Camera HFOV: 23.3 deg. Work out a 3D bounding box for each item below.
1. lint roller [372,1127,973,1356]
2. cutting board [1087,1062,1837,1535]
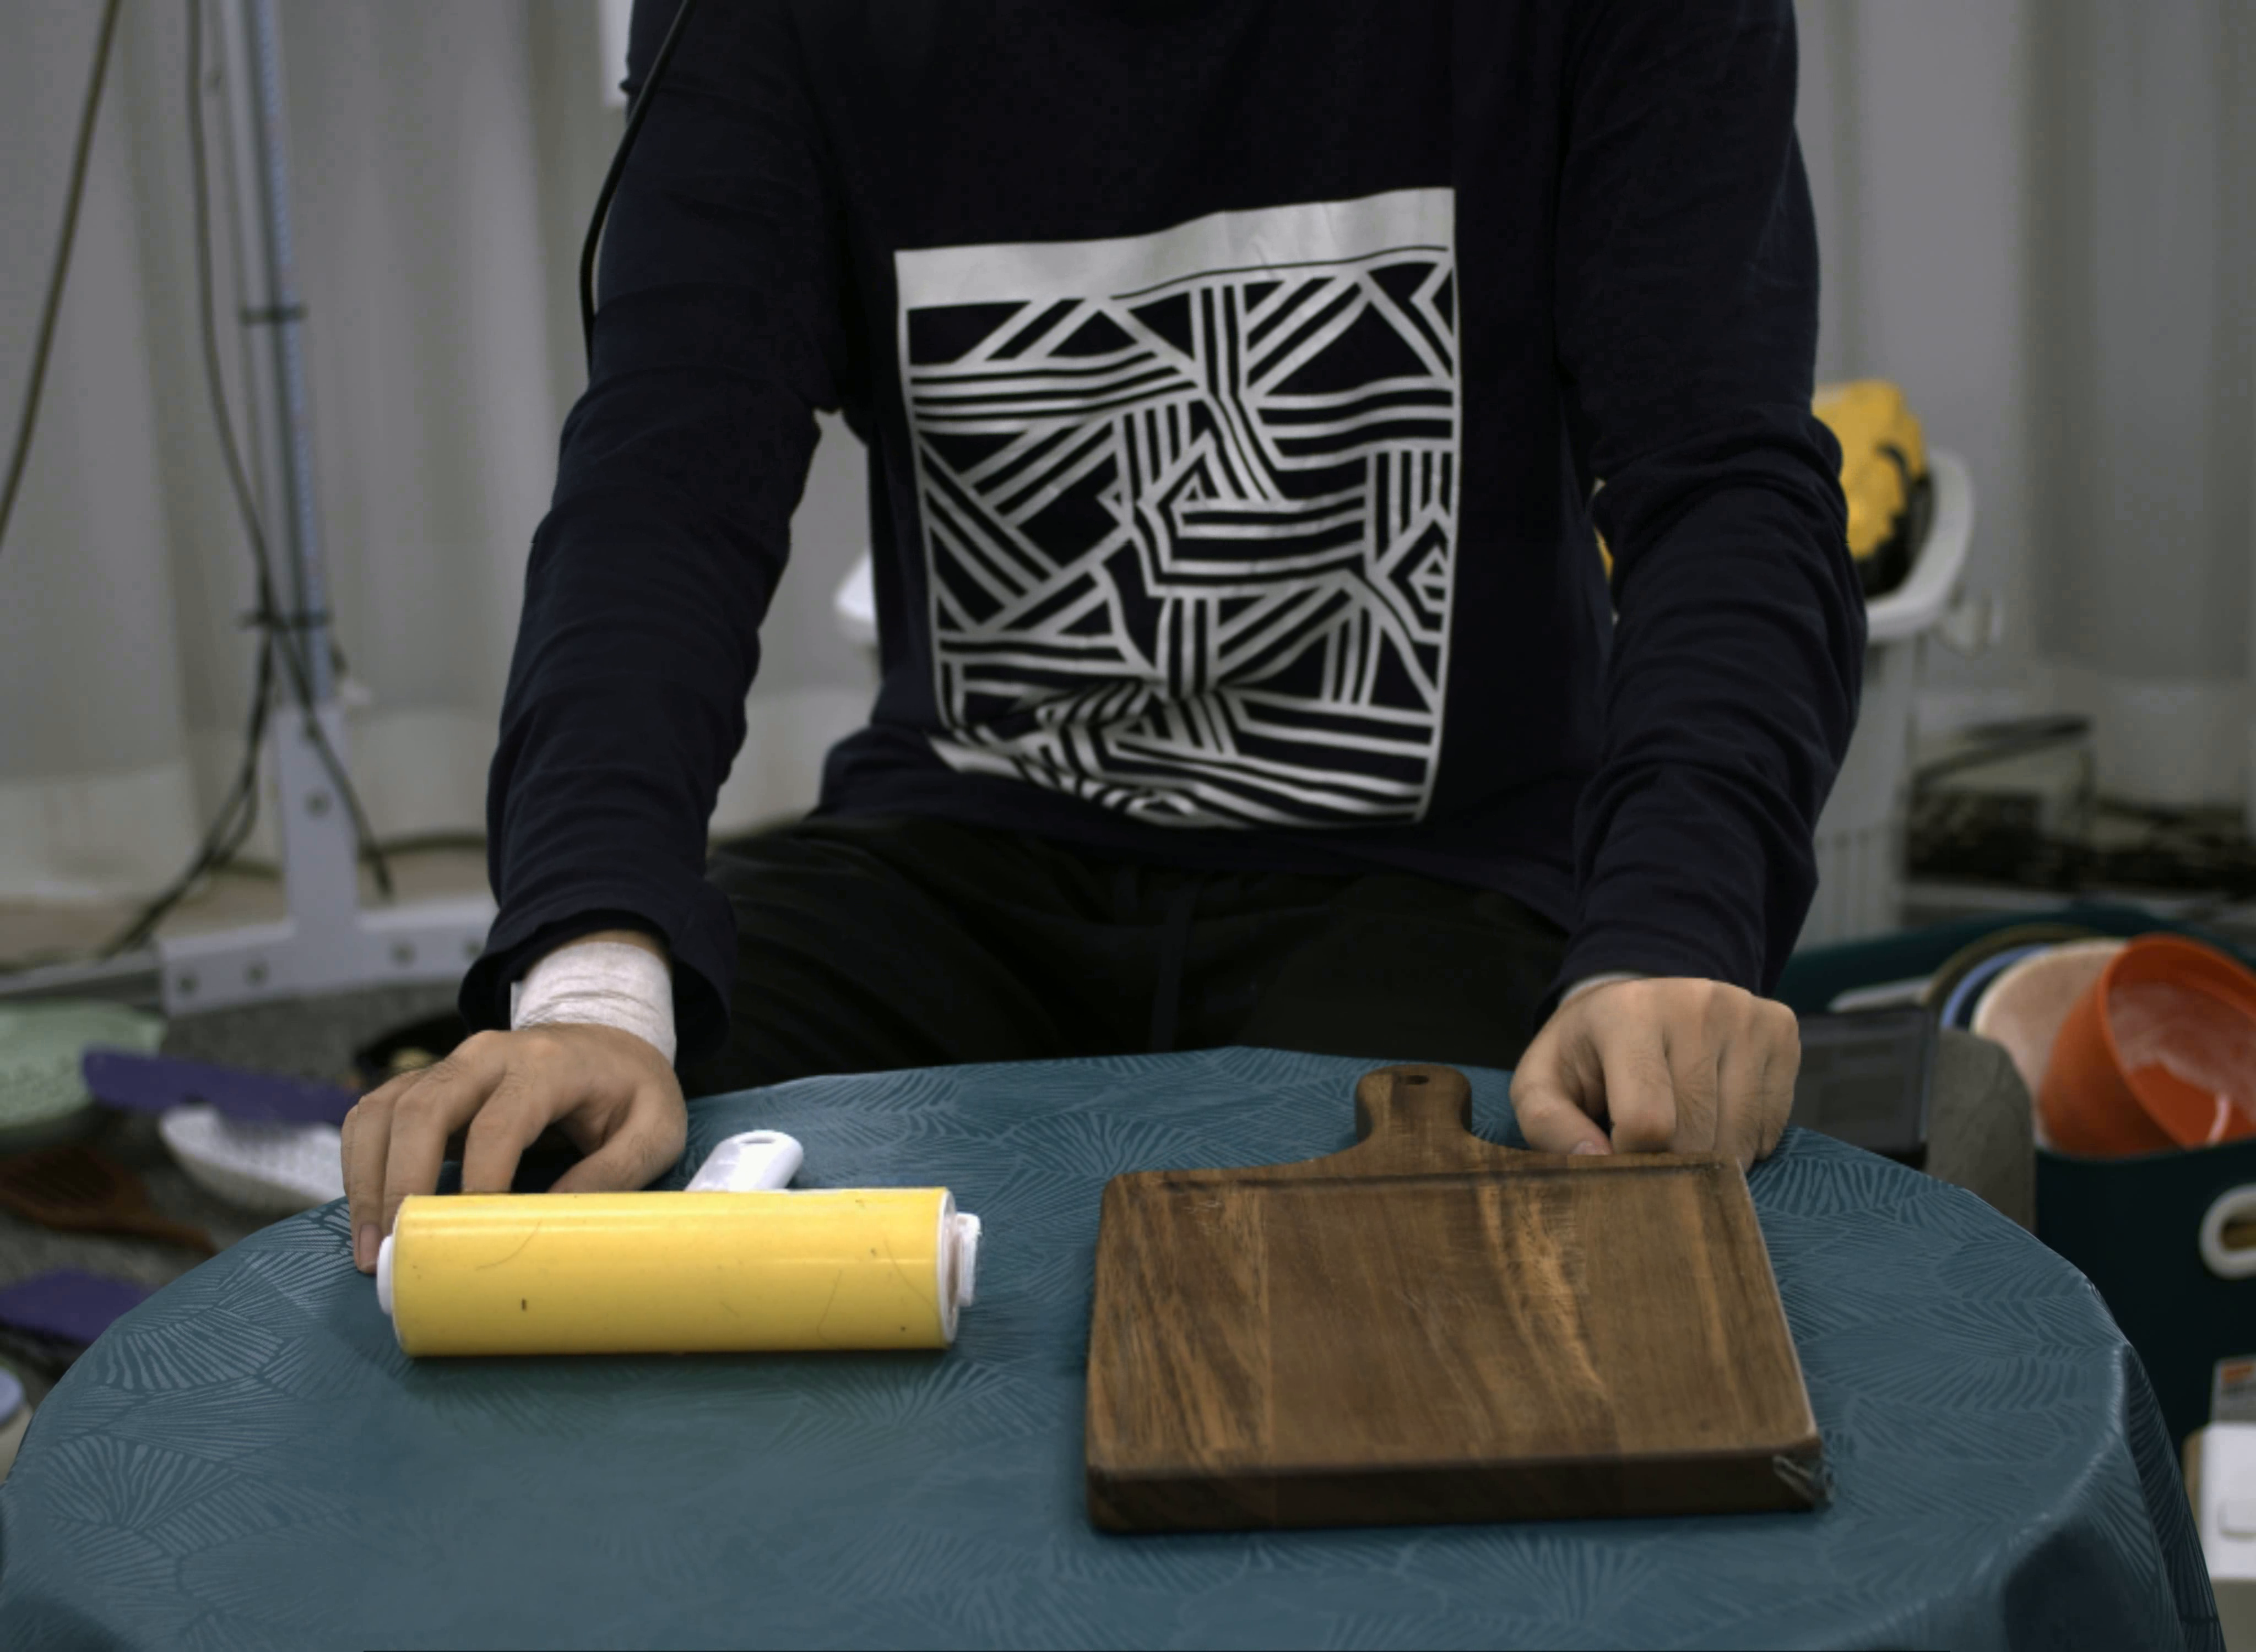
[{"bbox_3d":[-0.129,0.111,1.660,0.174,0.051,0.193,-1,18,4],"label":"lint roller"},{"bbox_3d":[0.089,0.130,1.601,0.200,0.023,0.354,-2,14,1],"label":"cutting board"}]
